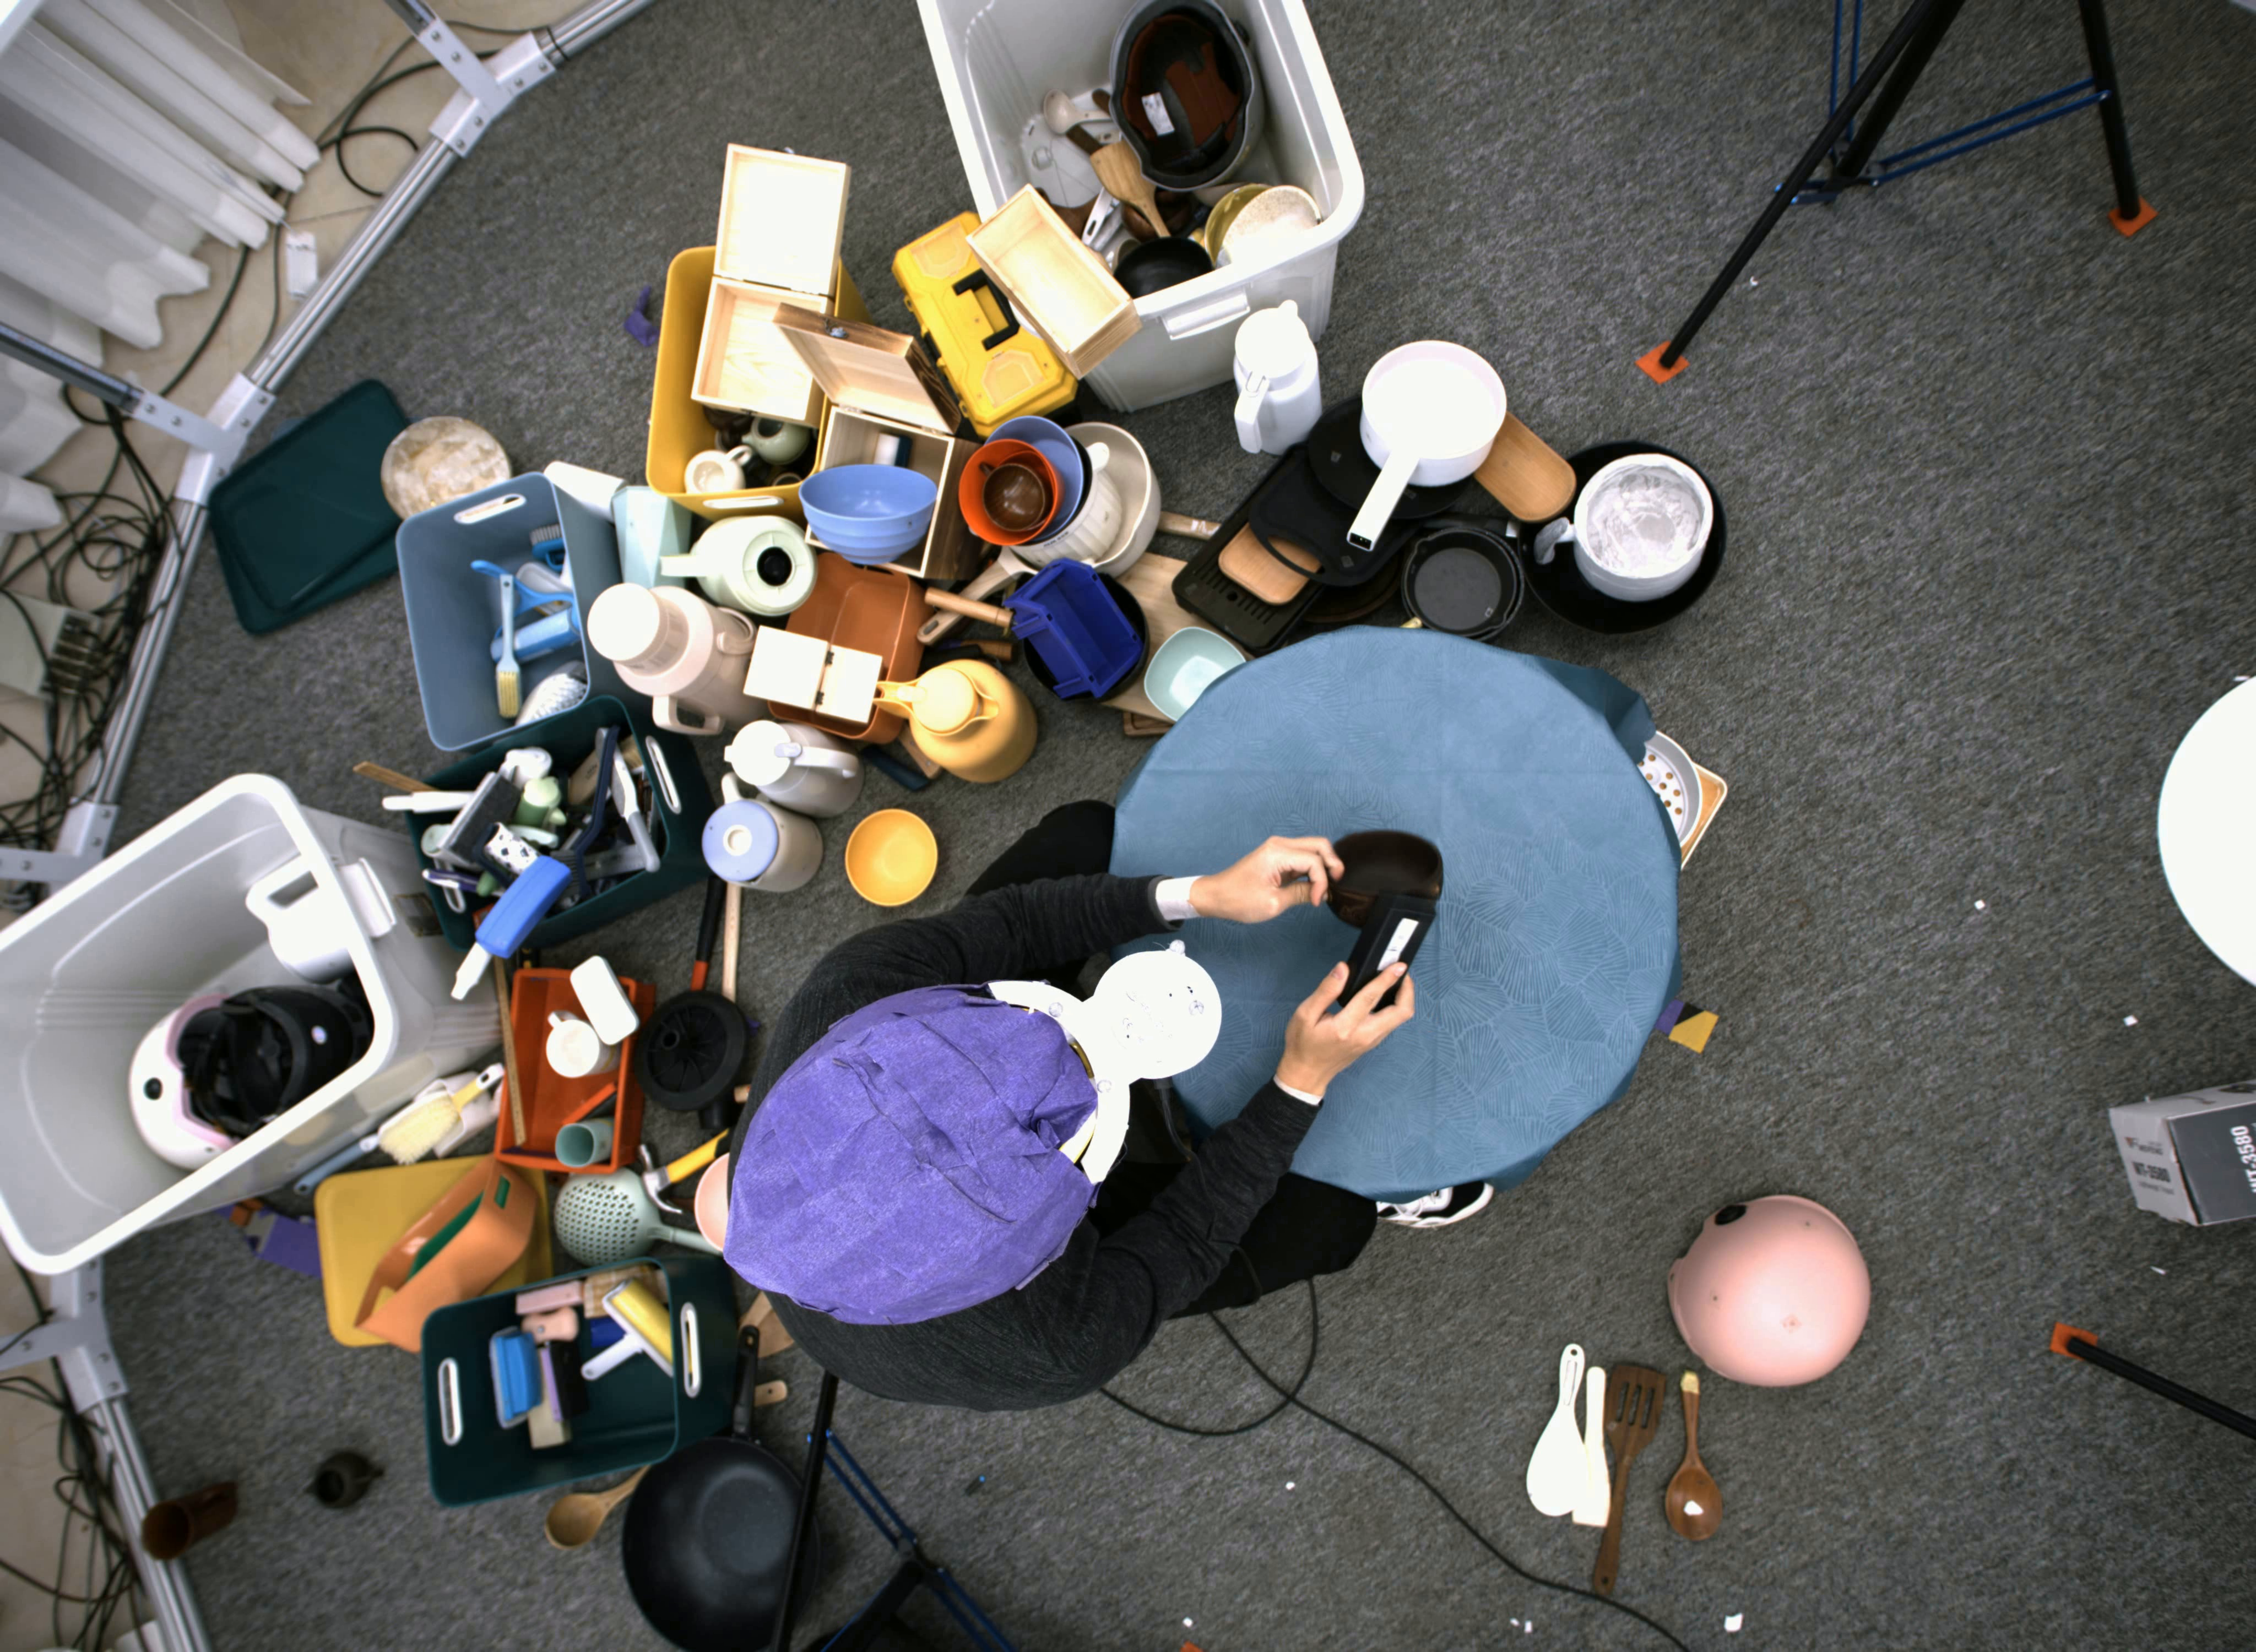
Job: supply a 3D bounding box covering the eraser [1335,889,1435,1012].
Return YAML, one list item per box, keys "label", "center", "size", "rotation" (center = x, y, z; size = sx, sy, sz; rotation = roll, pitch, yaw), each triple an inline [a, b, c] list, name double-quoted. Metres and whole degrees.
- label: "eraser"
  center: [0.240, 0.116, 1.298]
  size: [0.053, 0.030, 0.128]
  rotation: [9, 124, -13]

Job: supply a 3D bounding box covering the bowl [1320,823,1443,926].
- label: "bowl"
  center: [0.246, 0.055, 1.341]
  size: [0.118, 0.115, 0.071]
  rotation: [-2, 126, 10]
